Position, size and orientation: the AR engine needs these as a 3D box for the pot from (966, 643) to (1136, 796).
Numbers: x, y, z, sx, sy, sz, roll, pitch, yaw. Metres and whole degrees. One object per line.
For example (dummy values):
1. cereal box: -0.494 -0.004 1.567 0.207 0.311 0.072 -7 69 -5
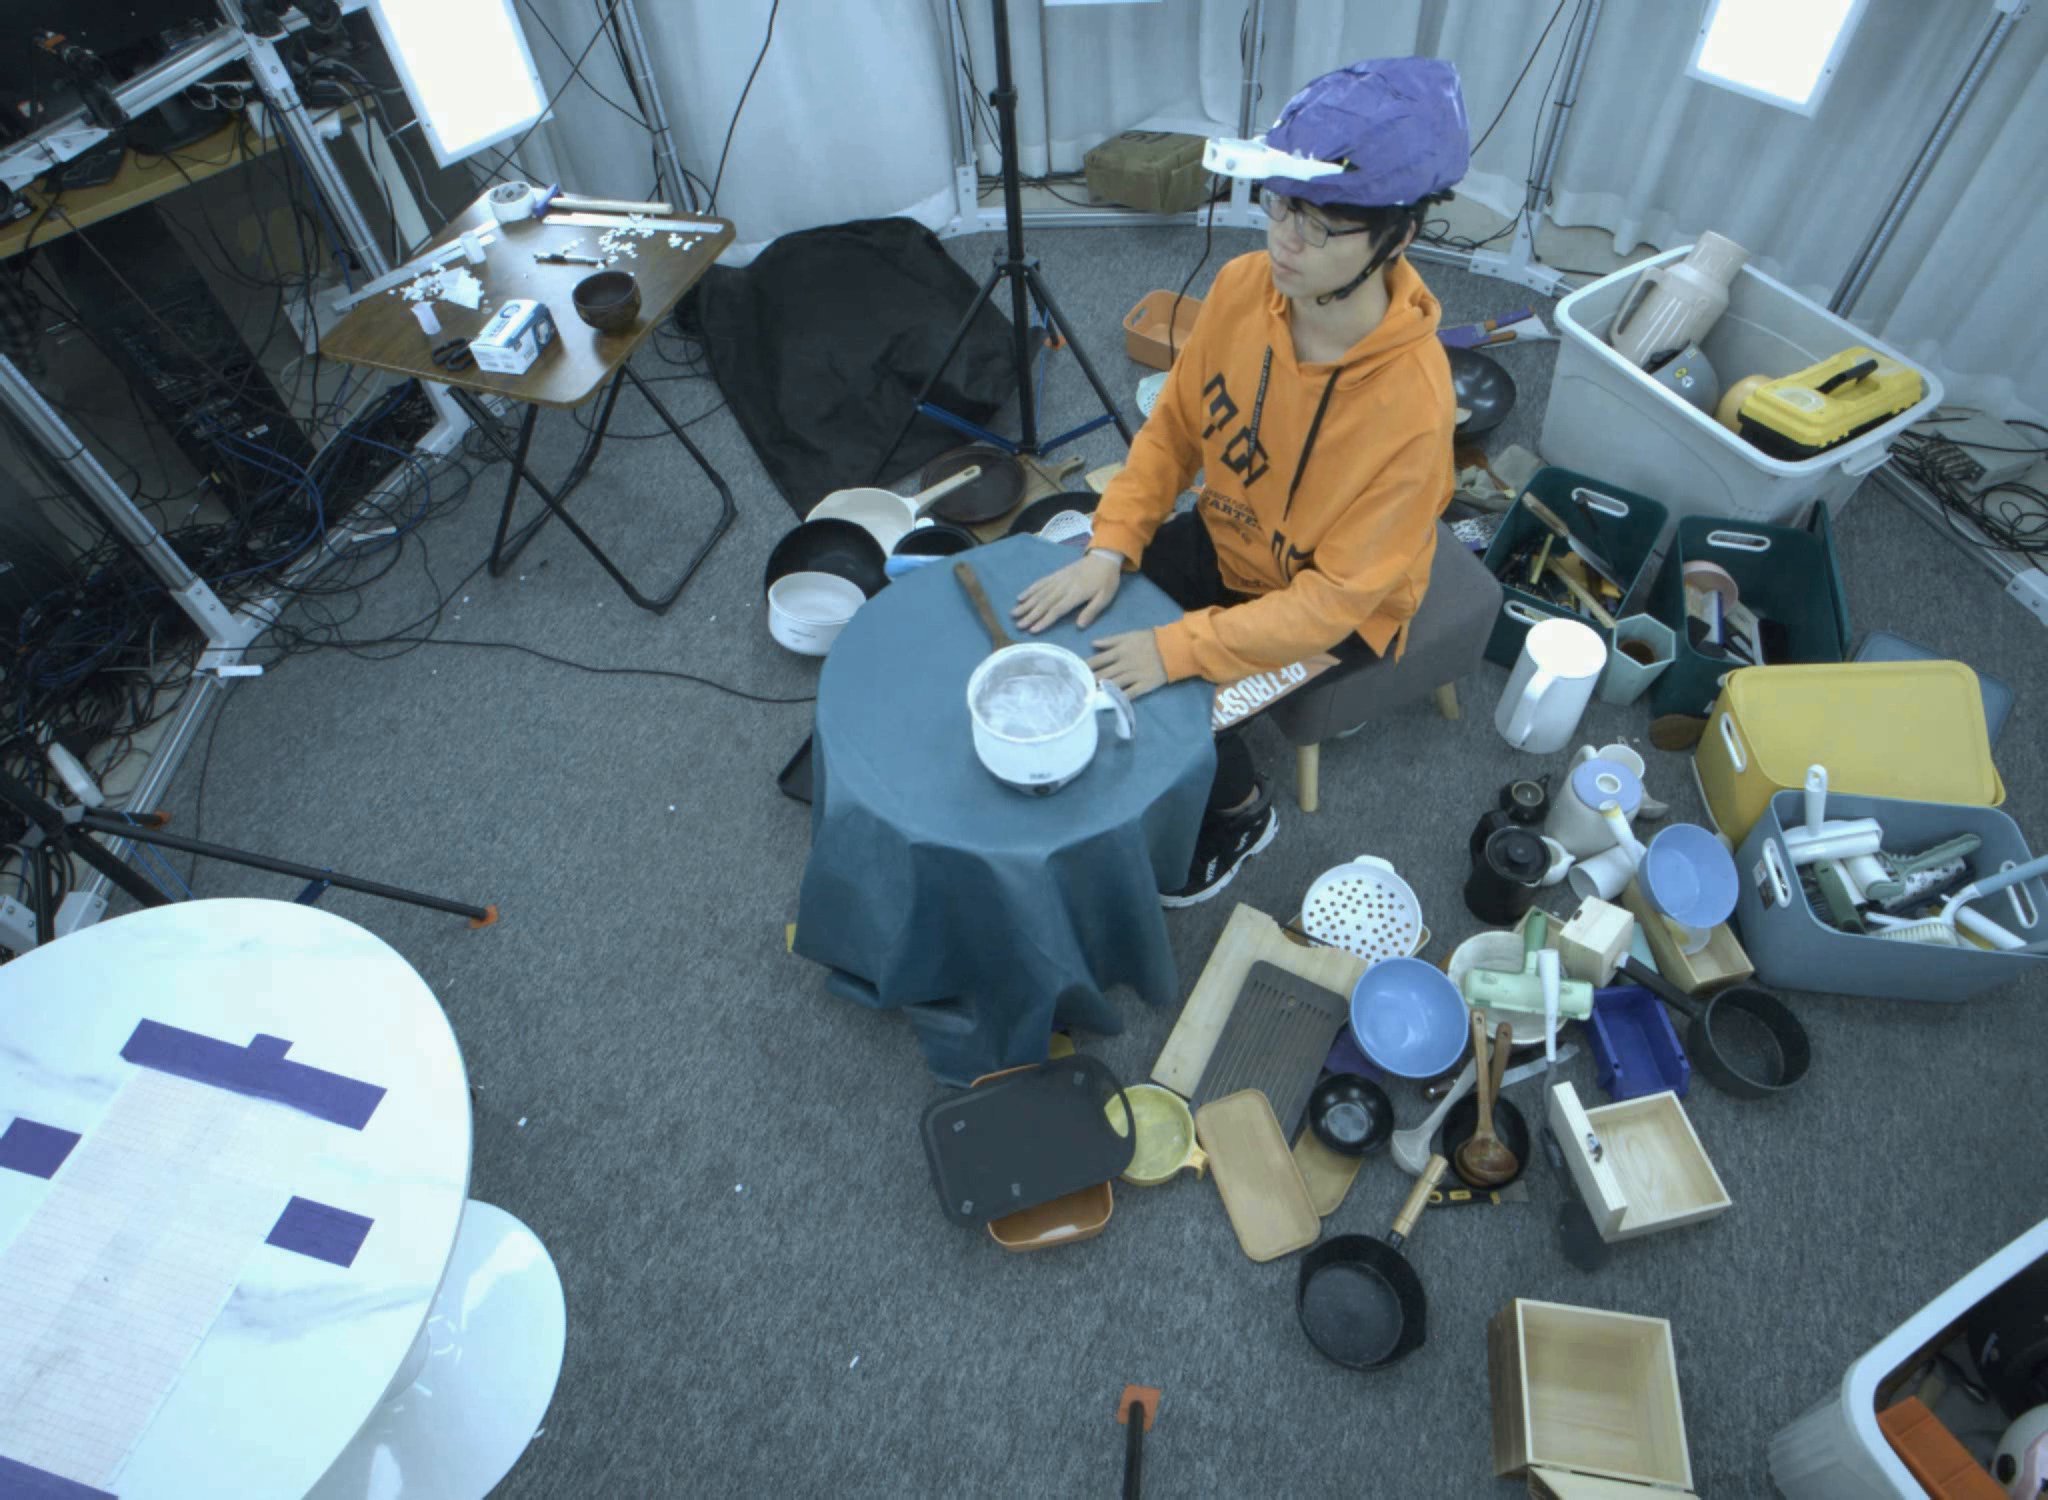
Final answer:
1. pot: 0.041 -0.046 1.733 0.234 0.138 0.176 -7 55 -2

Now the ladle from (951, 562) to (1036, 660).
1. ladle: -0.058 -0.223 1.904 0.076 0.072 0.269 -18 57 -13
